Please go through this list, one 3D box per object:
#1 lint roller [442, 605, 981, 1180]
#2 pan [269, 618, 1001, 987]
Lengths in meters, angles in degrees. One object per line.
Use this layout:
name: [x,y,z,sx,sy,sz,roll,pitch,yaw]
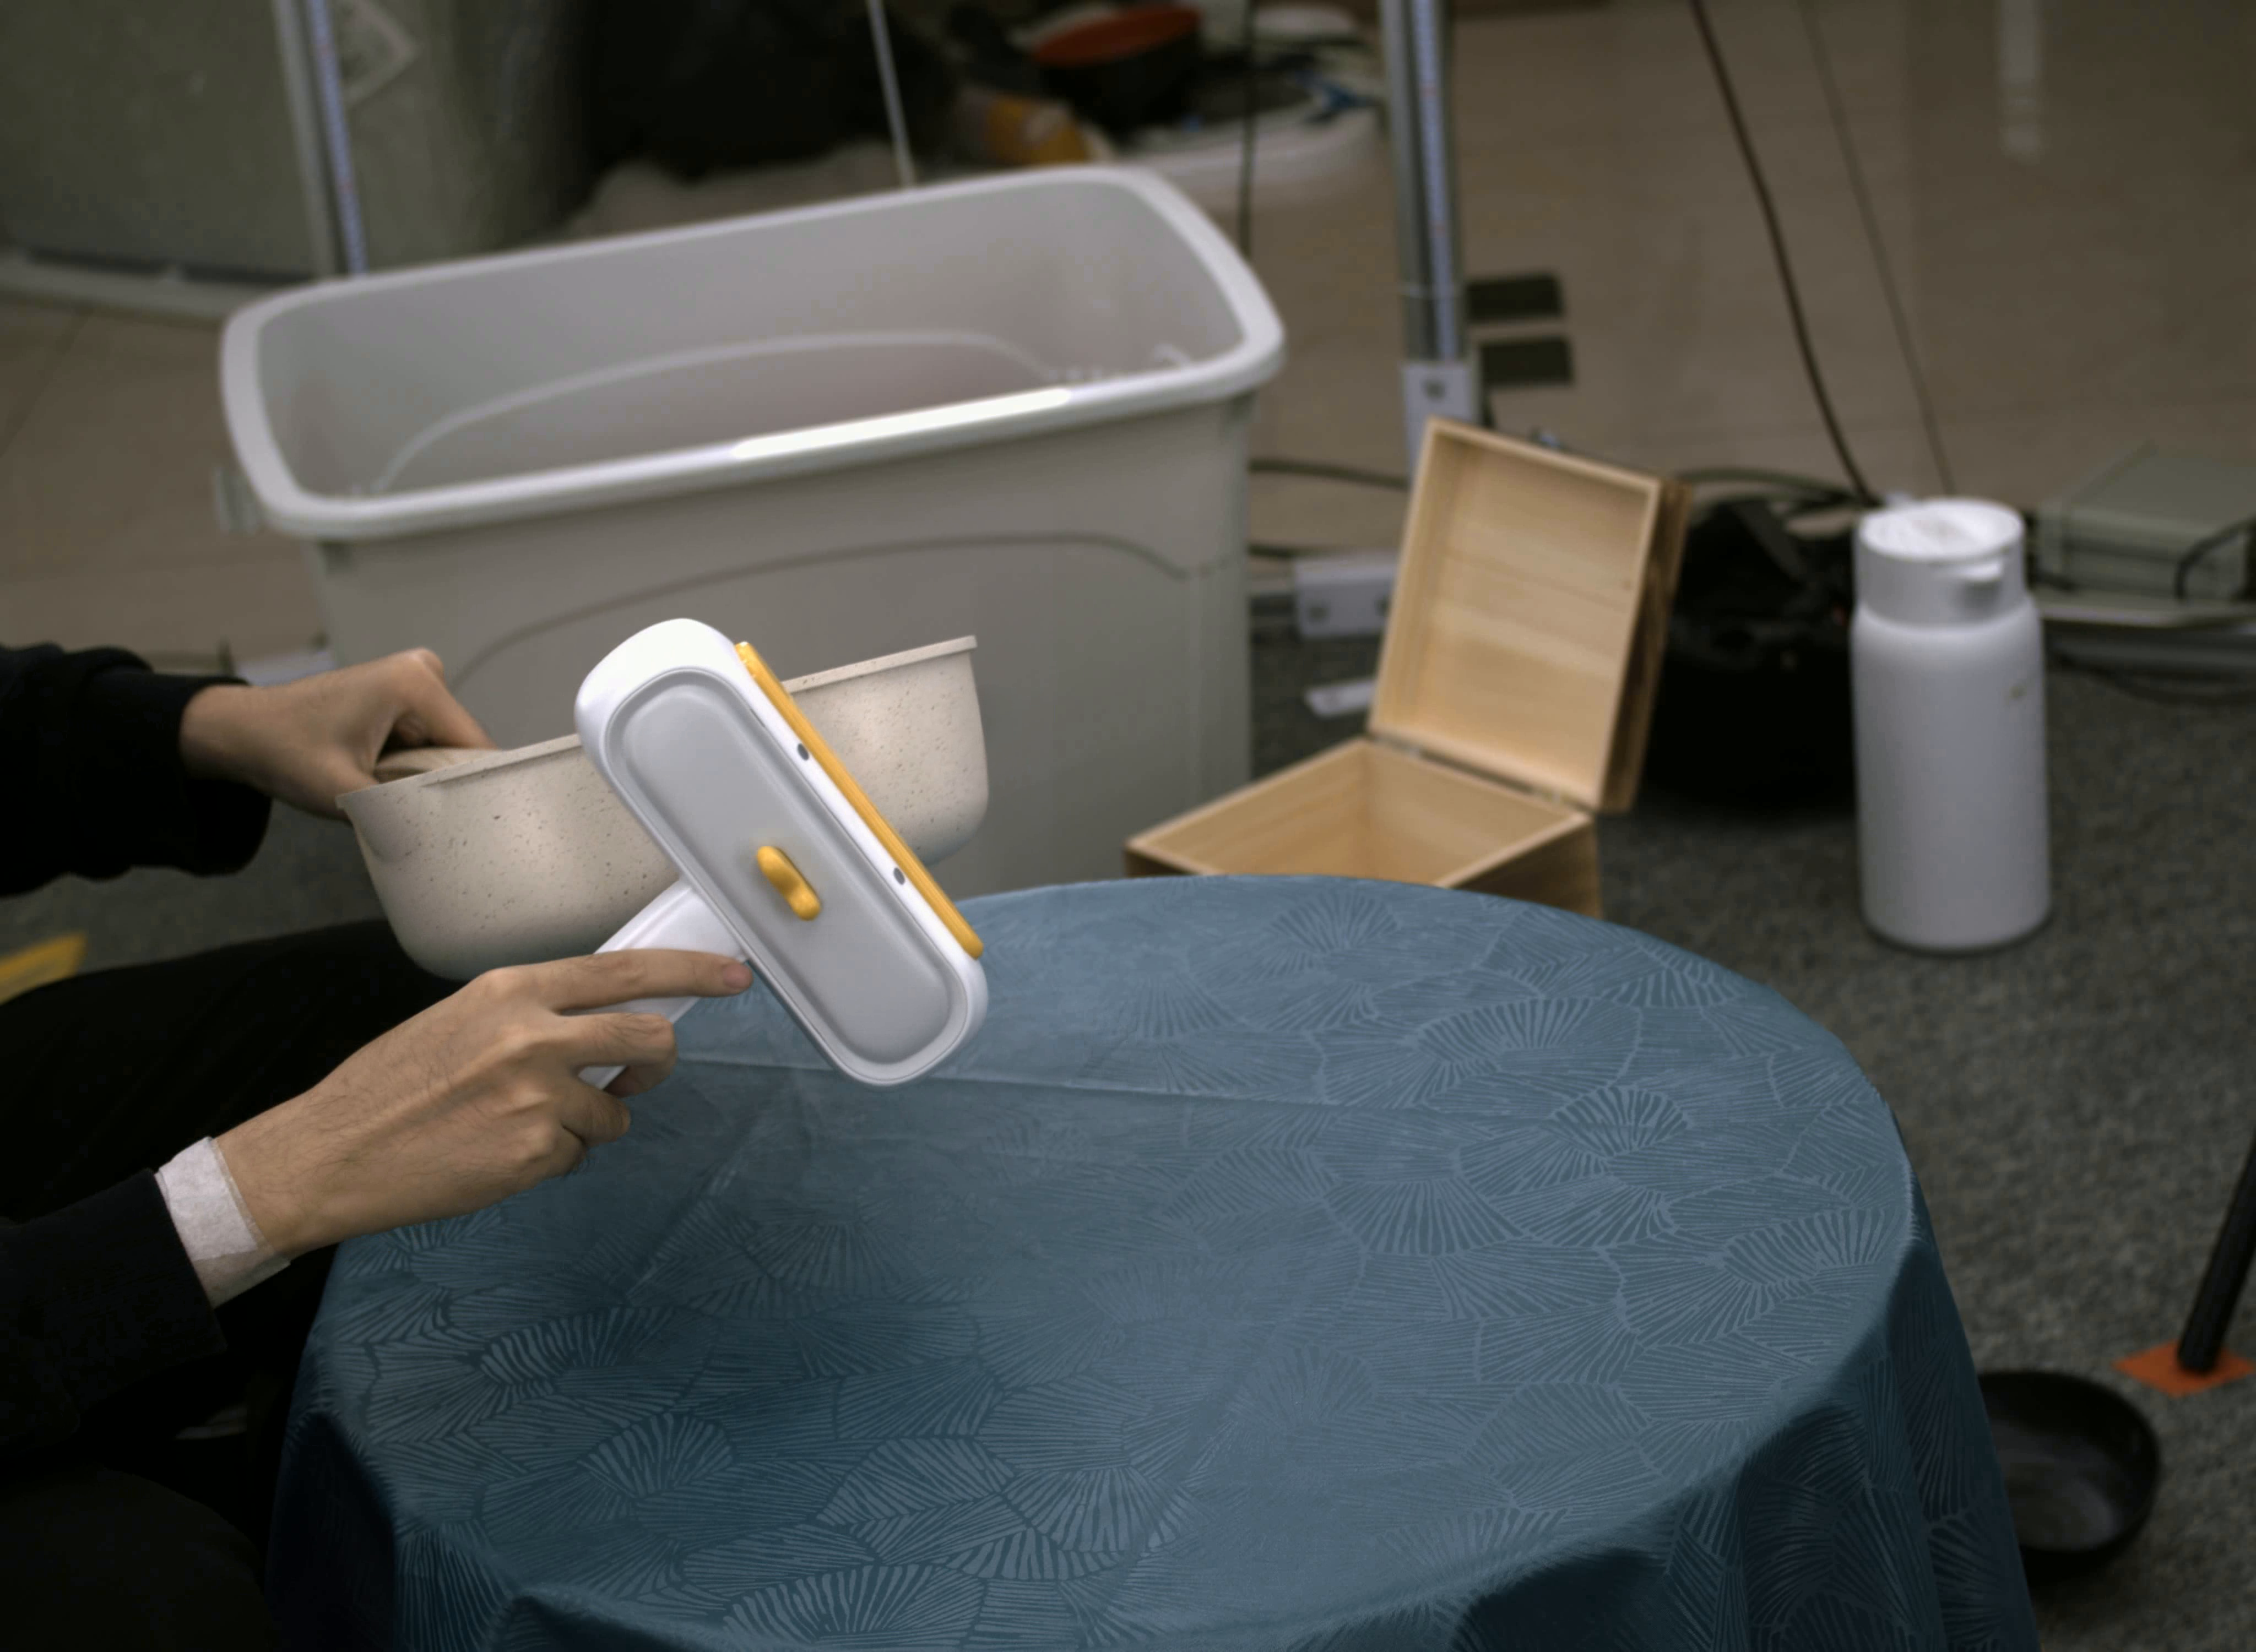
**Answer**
lint roller: [-0.169,0.047,2.000,0.192,0.195,0.073,-42,22,-3]
pan: [-0.218,-0.001,2.228,0.262,0.102,0.436,-19,4,-34]
